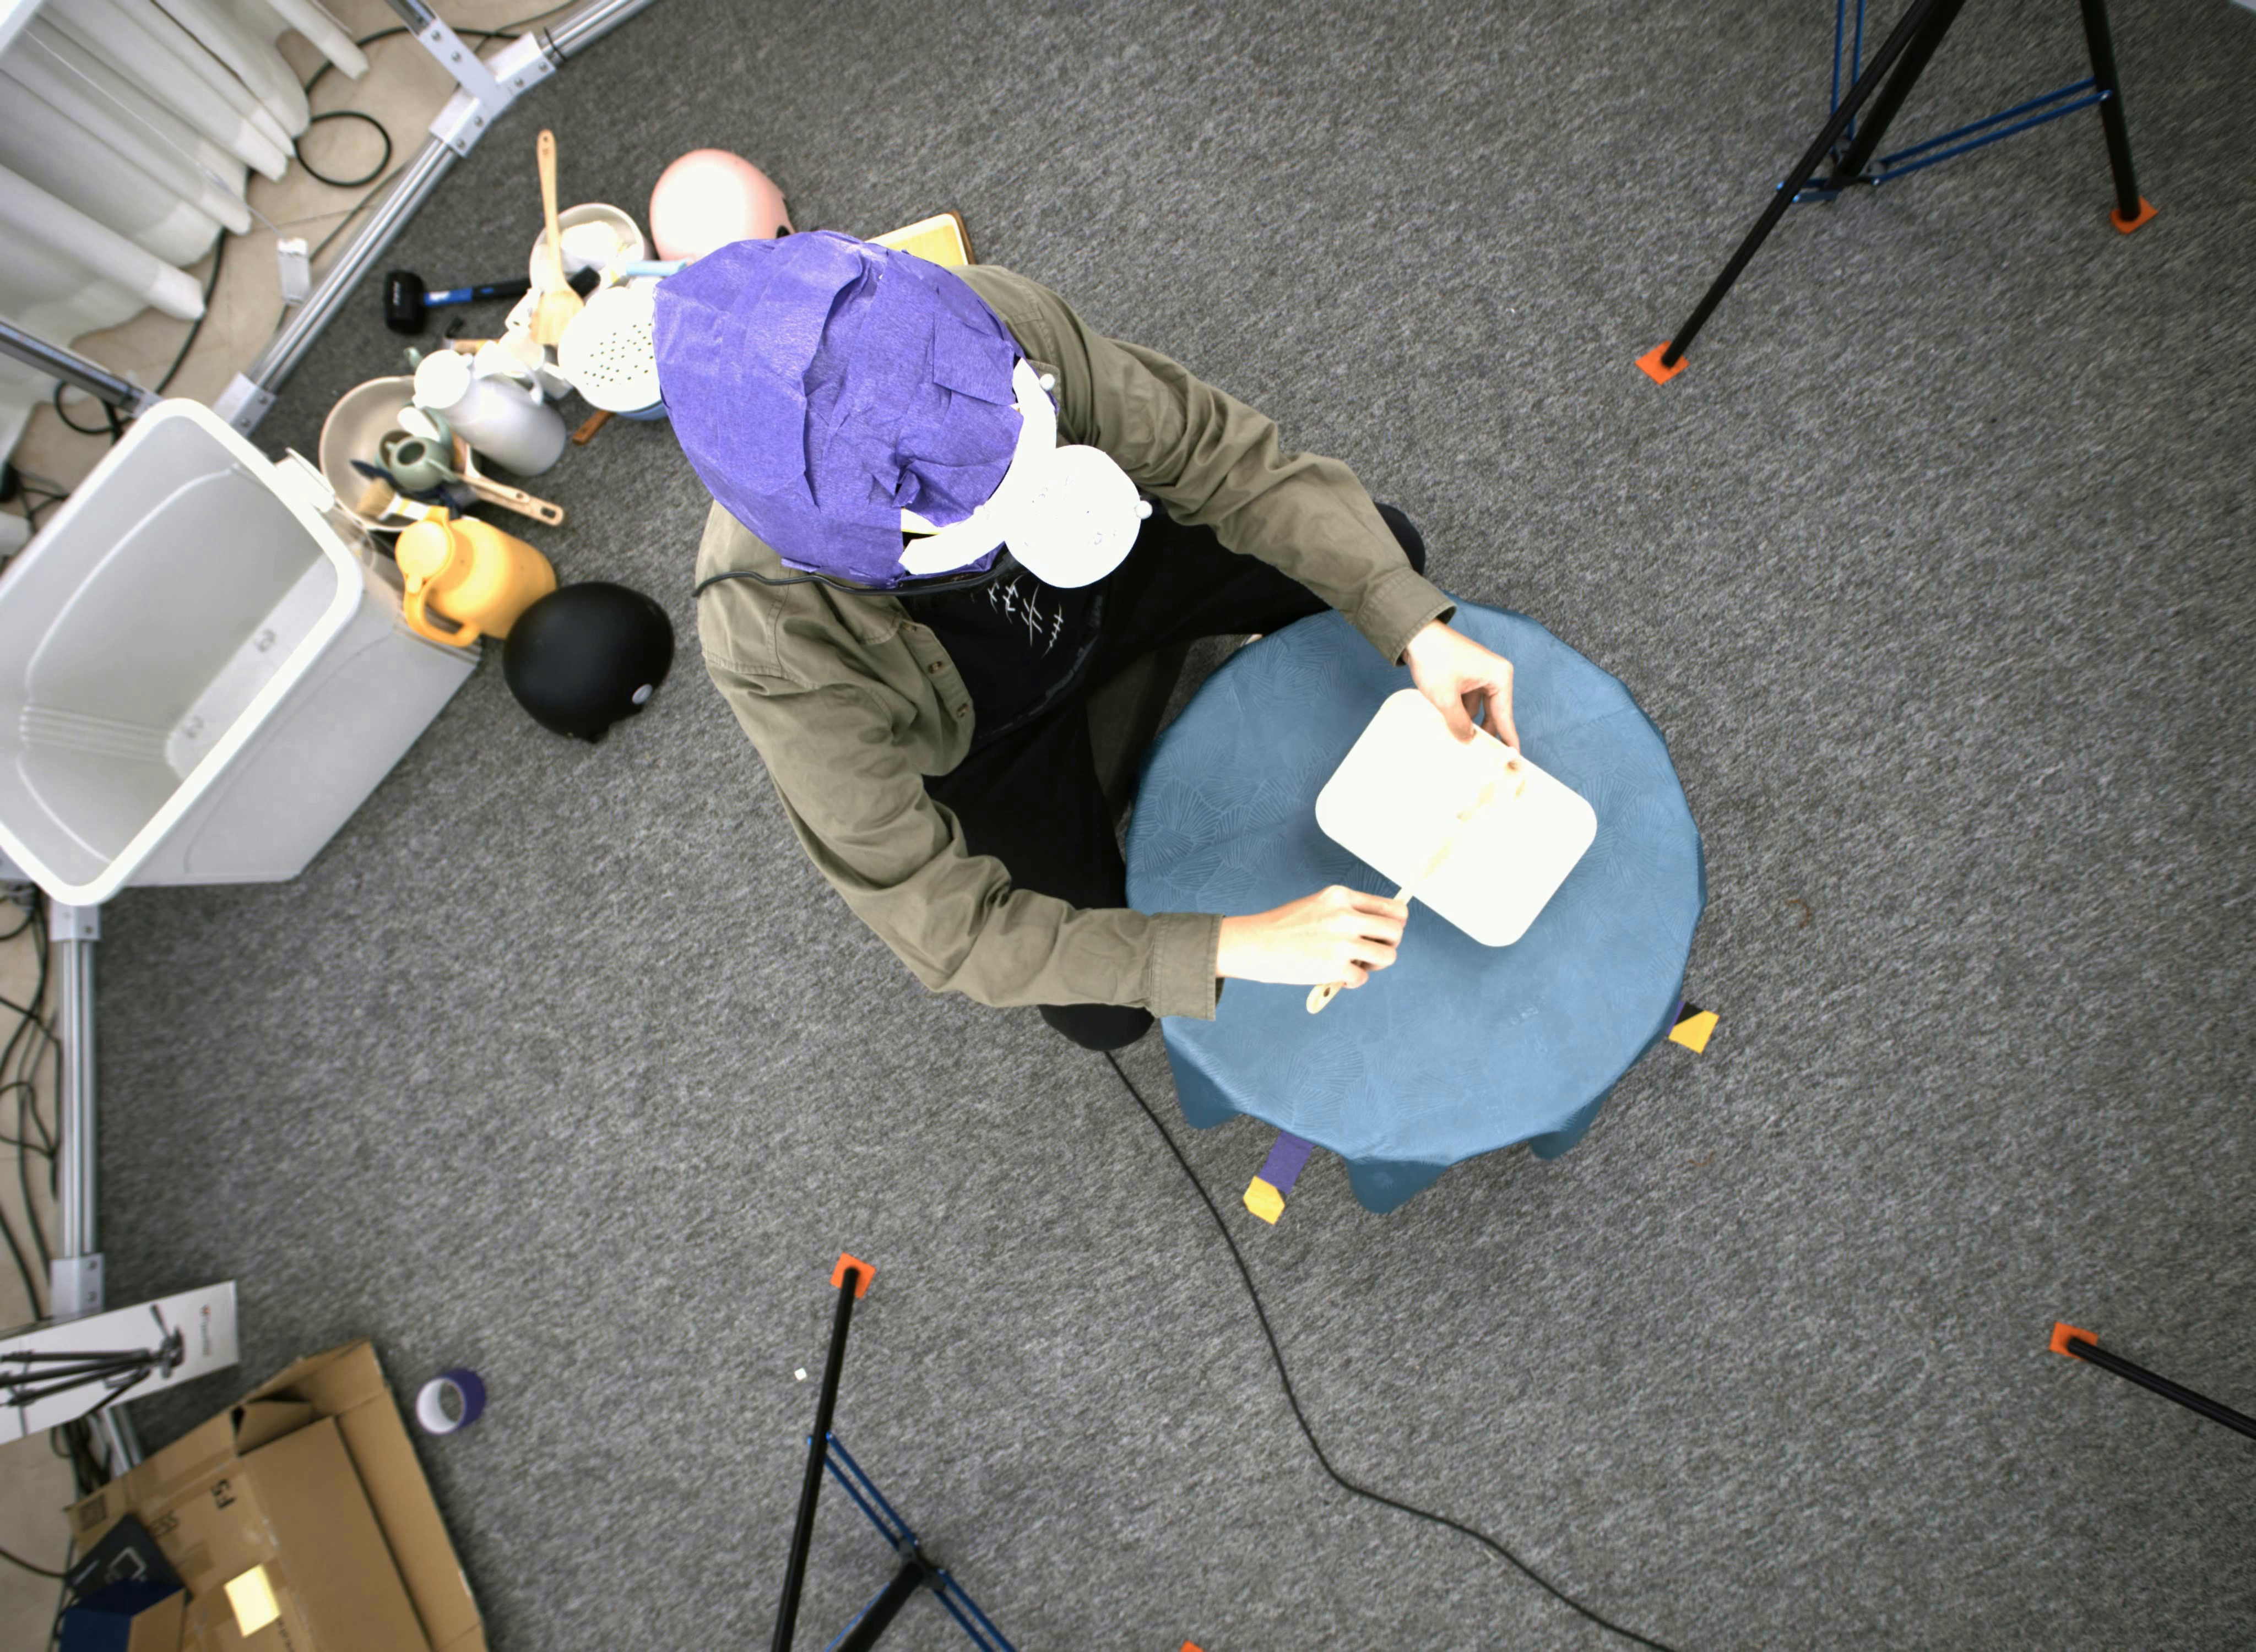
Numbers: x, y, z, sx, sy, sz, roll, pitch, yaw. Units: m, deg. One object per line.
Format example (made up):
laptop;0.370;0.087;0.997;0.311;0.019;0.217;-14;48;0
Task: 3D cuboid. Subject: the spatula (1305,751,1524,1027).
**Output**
spatula;0.259;0.055;1.236;0.016;0.081;0.323;30;70;34

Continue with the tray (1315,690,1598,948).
tray;0.315;-0.009;1.329;0.239;0.017;0.173;35;102;3
